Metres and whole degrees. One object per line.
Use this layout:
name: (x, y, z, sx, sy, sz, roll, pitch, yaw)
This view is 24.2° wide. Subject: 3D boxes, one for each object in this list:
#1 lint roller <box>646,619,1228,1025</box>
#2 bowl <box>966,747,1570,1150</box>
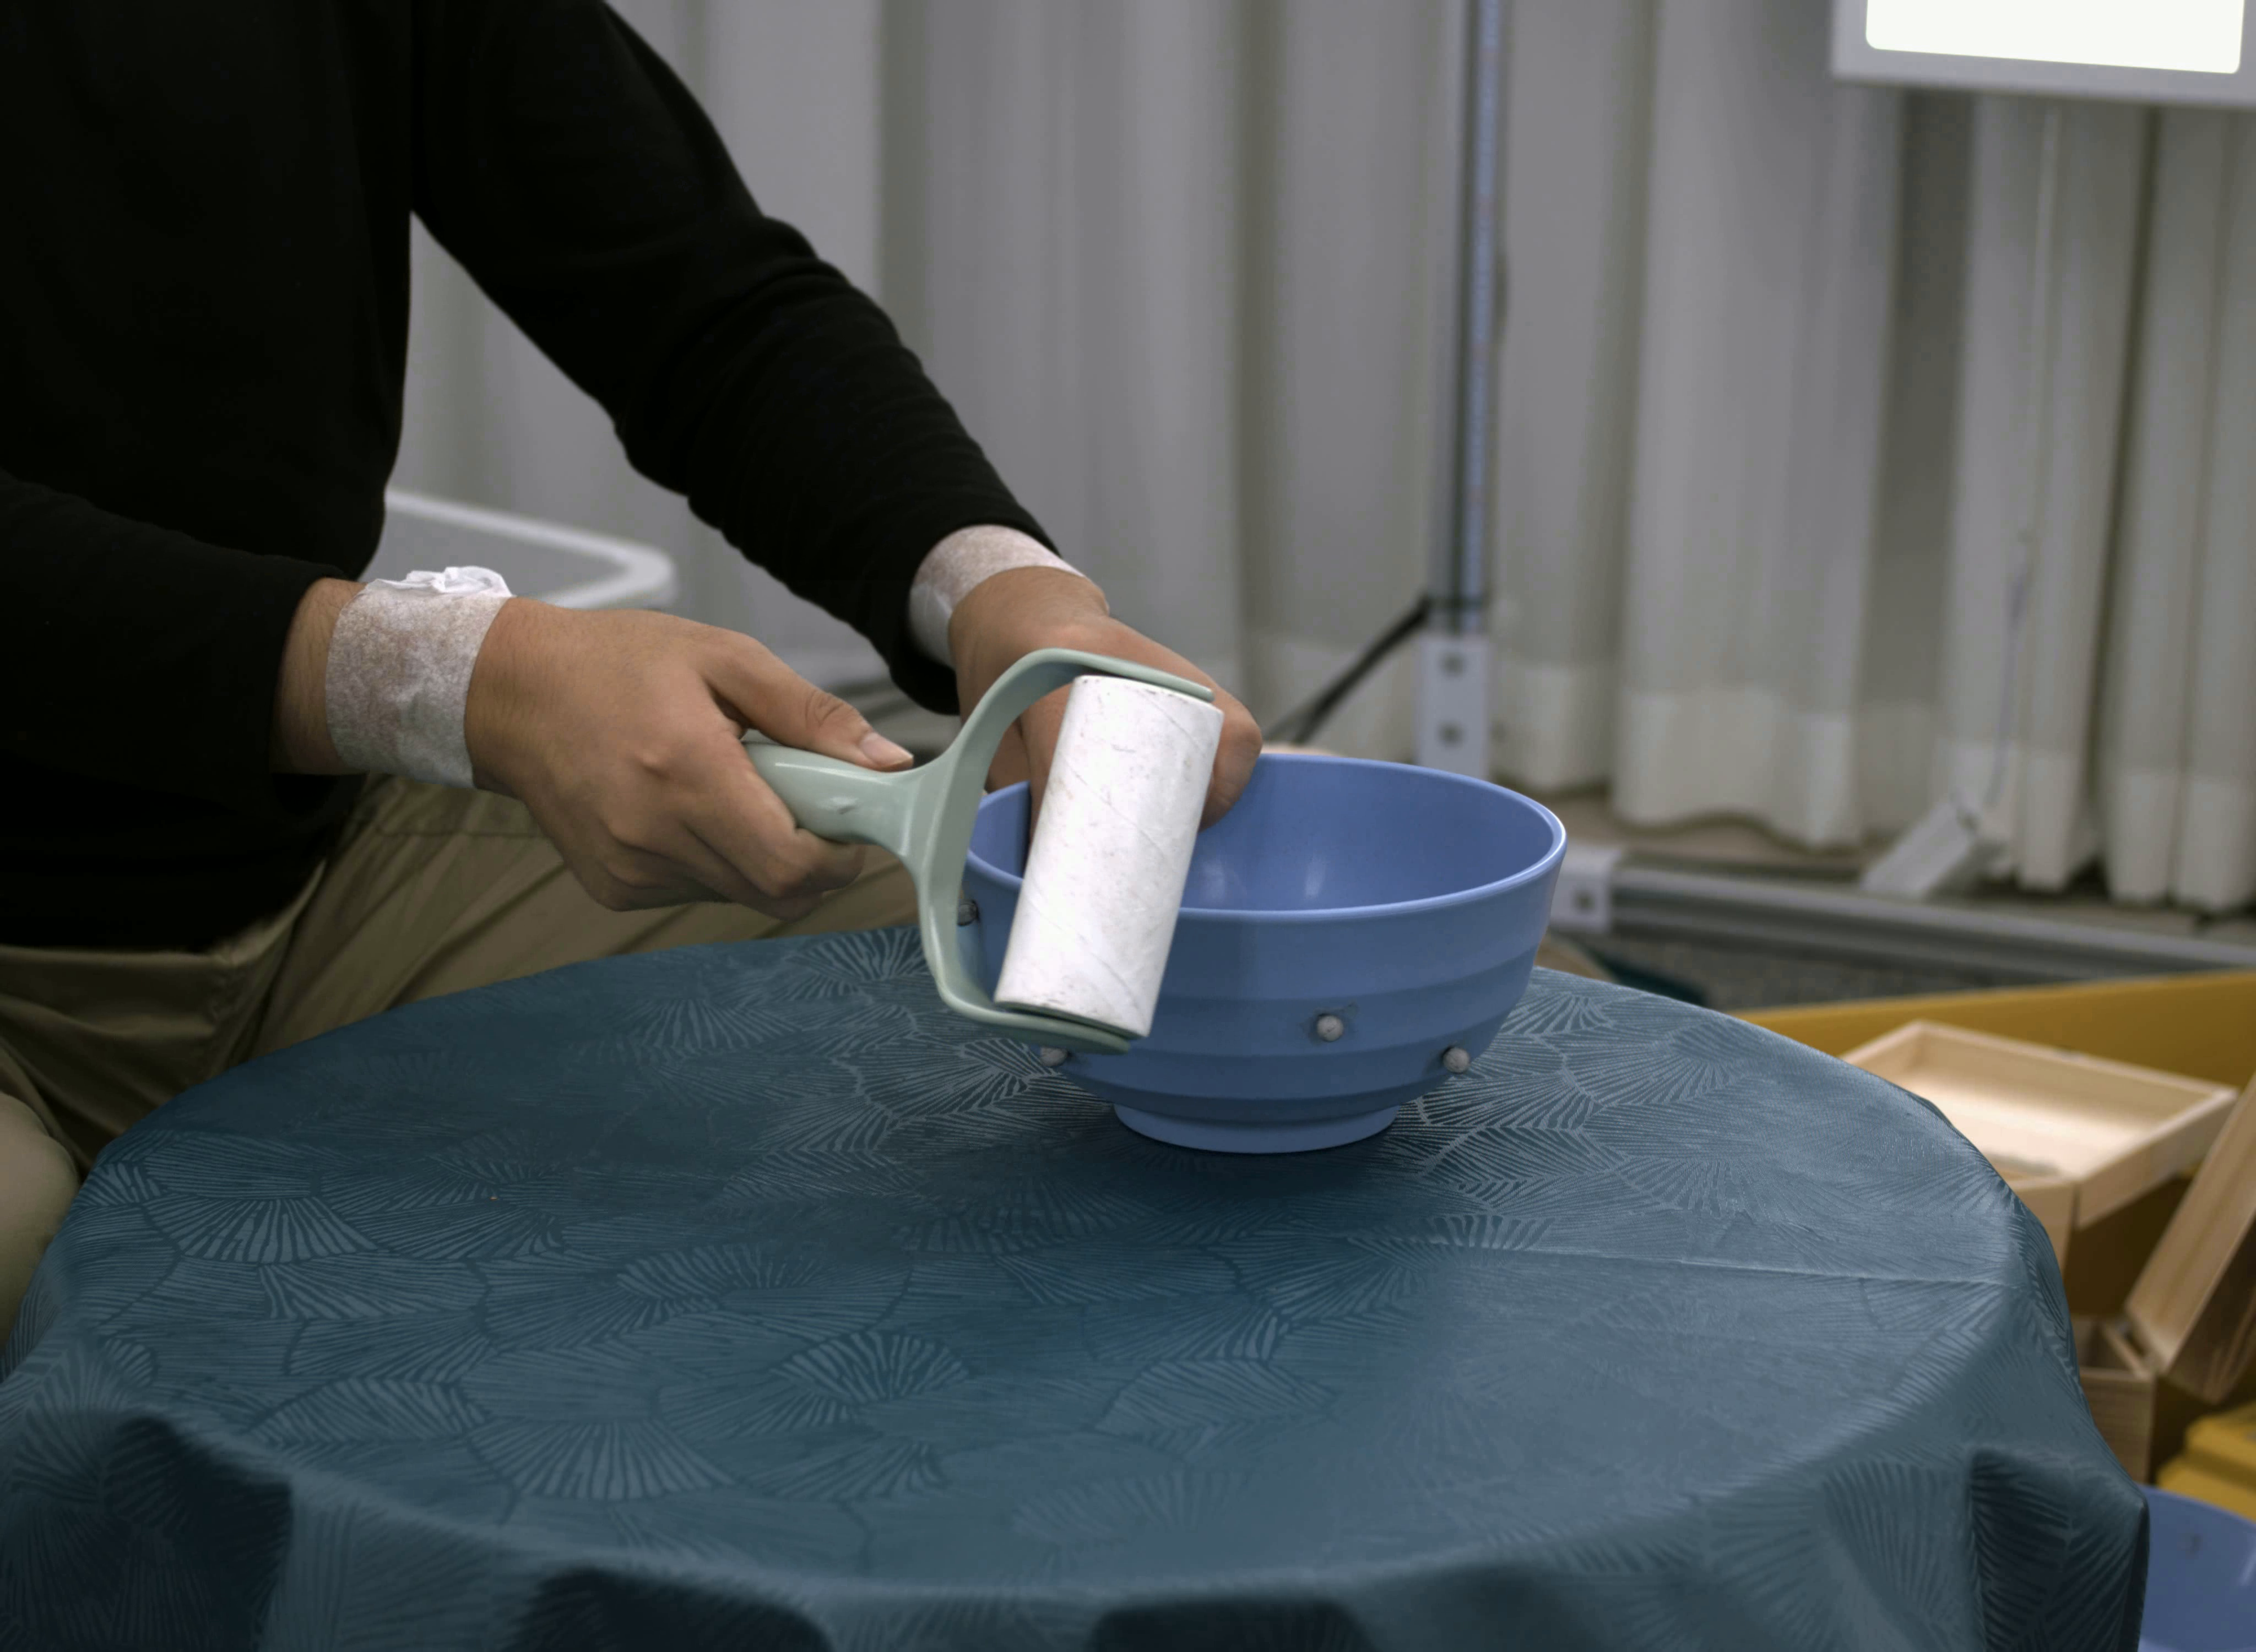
lint roller: (-0.067, -0.011, 1.577, 0.195, 0.117, 0.049, 10, -5, 26)
bowl: (0.043, 0.044, 1.683, 0.196, 0.096, 0.195, -1, 16, 1)
